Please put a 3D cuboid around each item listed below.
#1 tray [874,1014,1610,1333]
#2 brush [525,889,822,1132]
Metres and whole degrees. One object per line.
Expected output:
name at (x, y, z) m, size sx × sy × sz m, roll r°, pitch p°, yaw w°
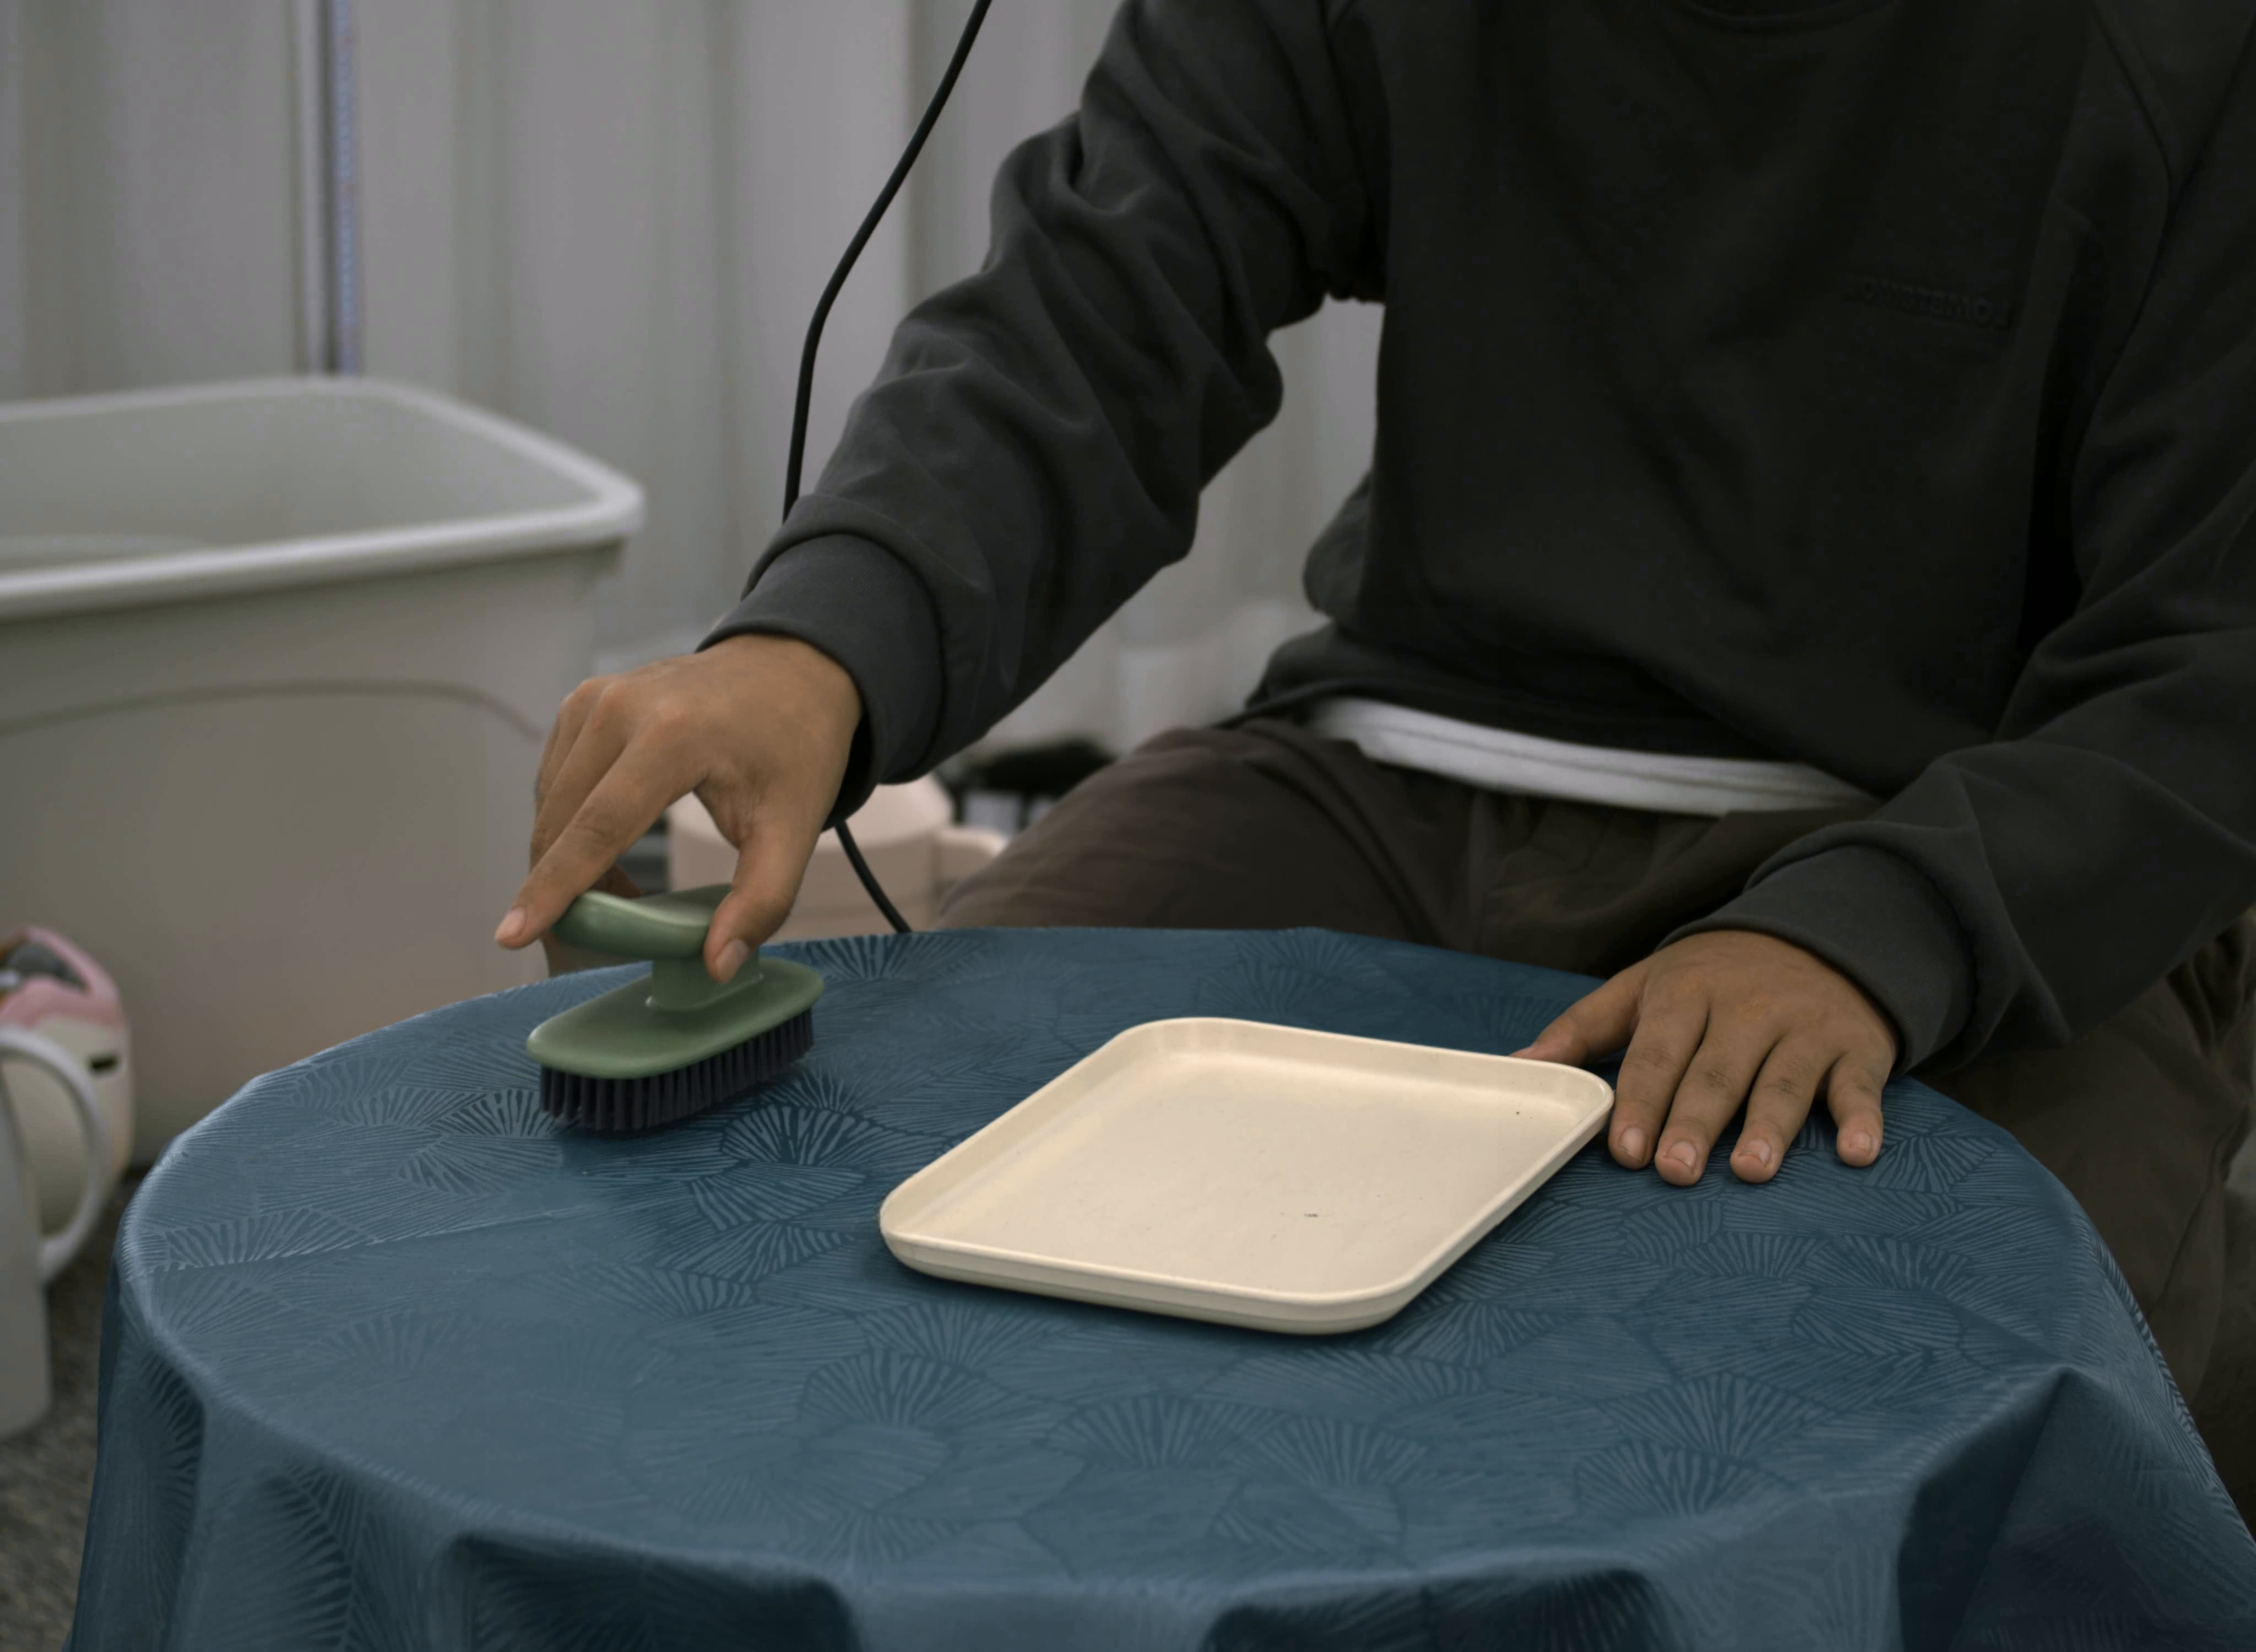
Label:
tray at (0.039, 0.105, 1.620) m, size 0.169 × 0.017 × 0.240 m, roll 8°, pitch 17°, yaw 22°
brush at (-0.147, 0.058, 1.700) m, size 0.059 × 0.076 × 0.124 m, roll 12°, pitch 7°, yaw 28°
